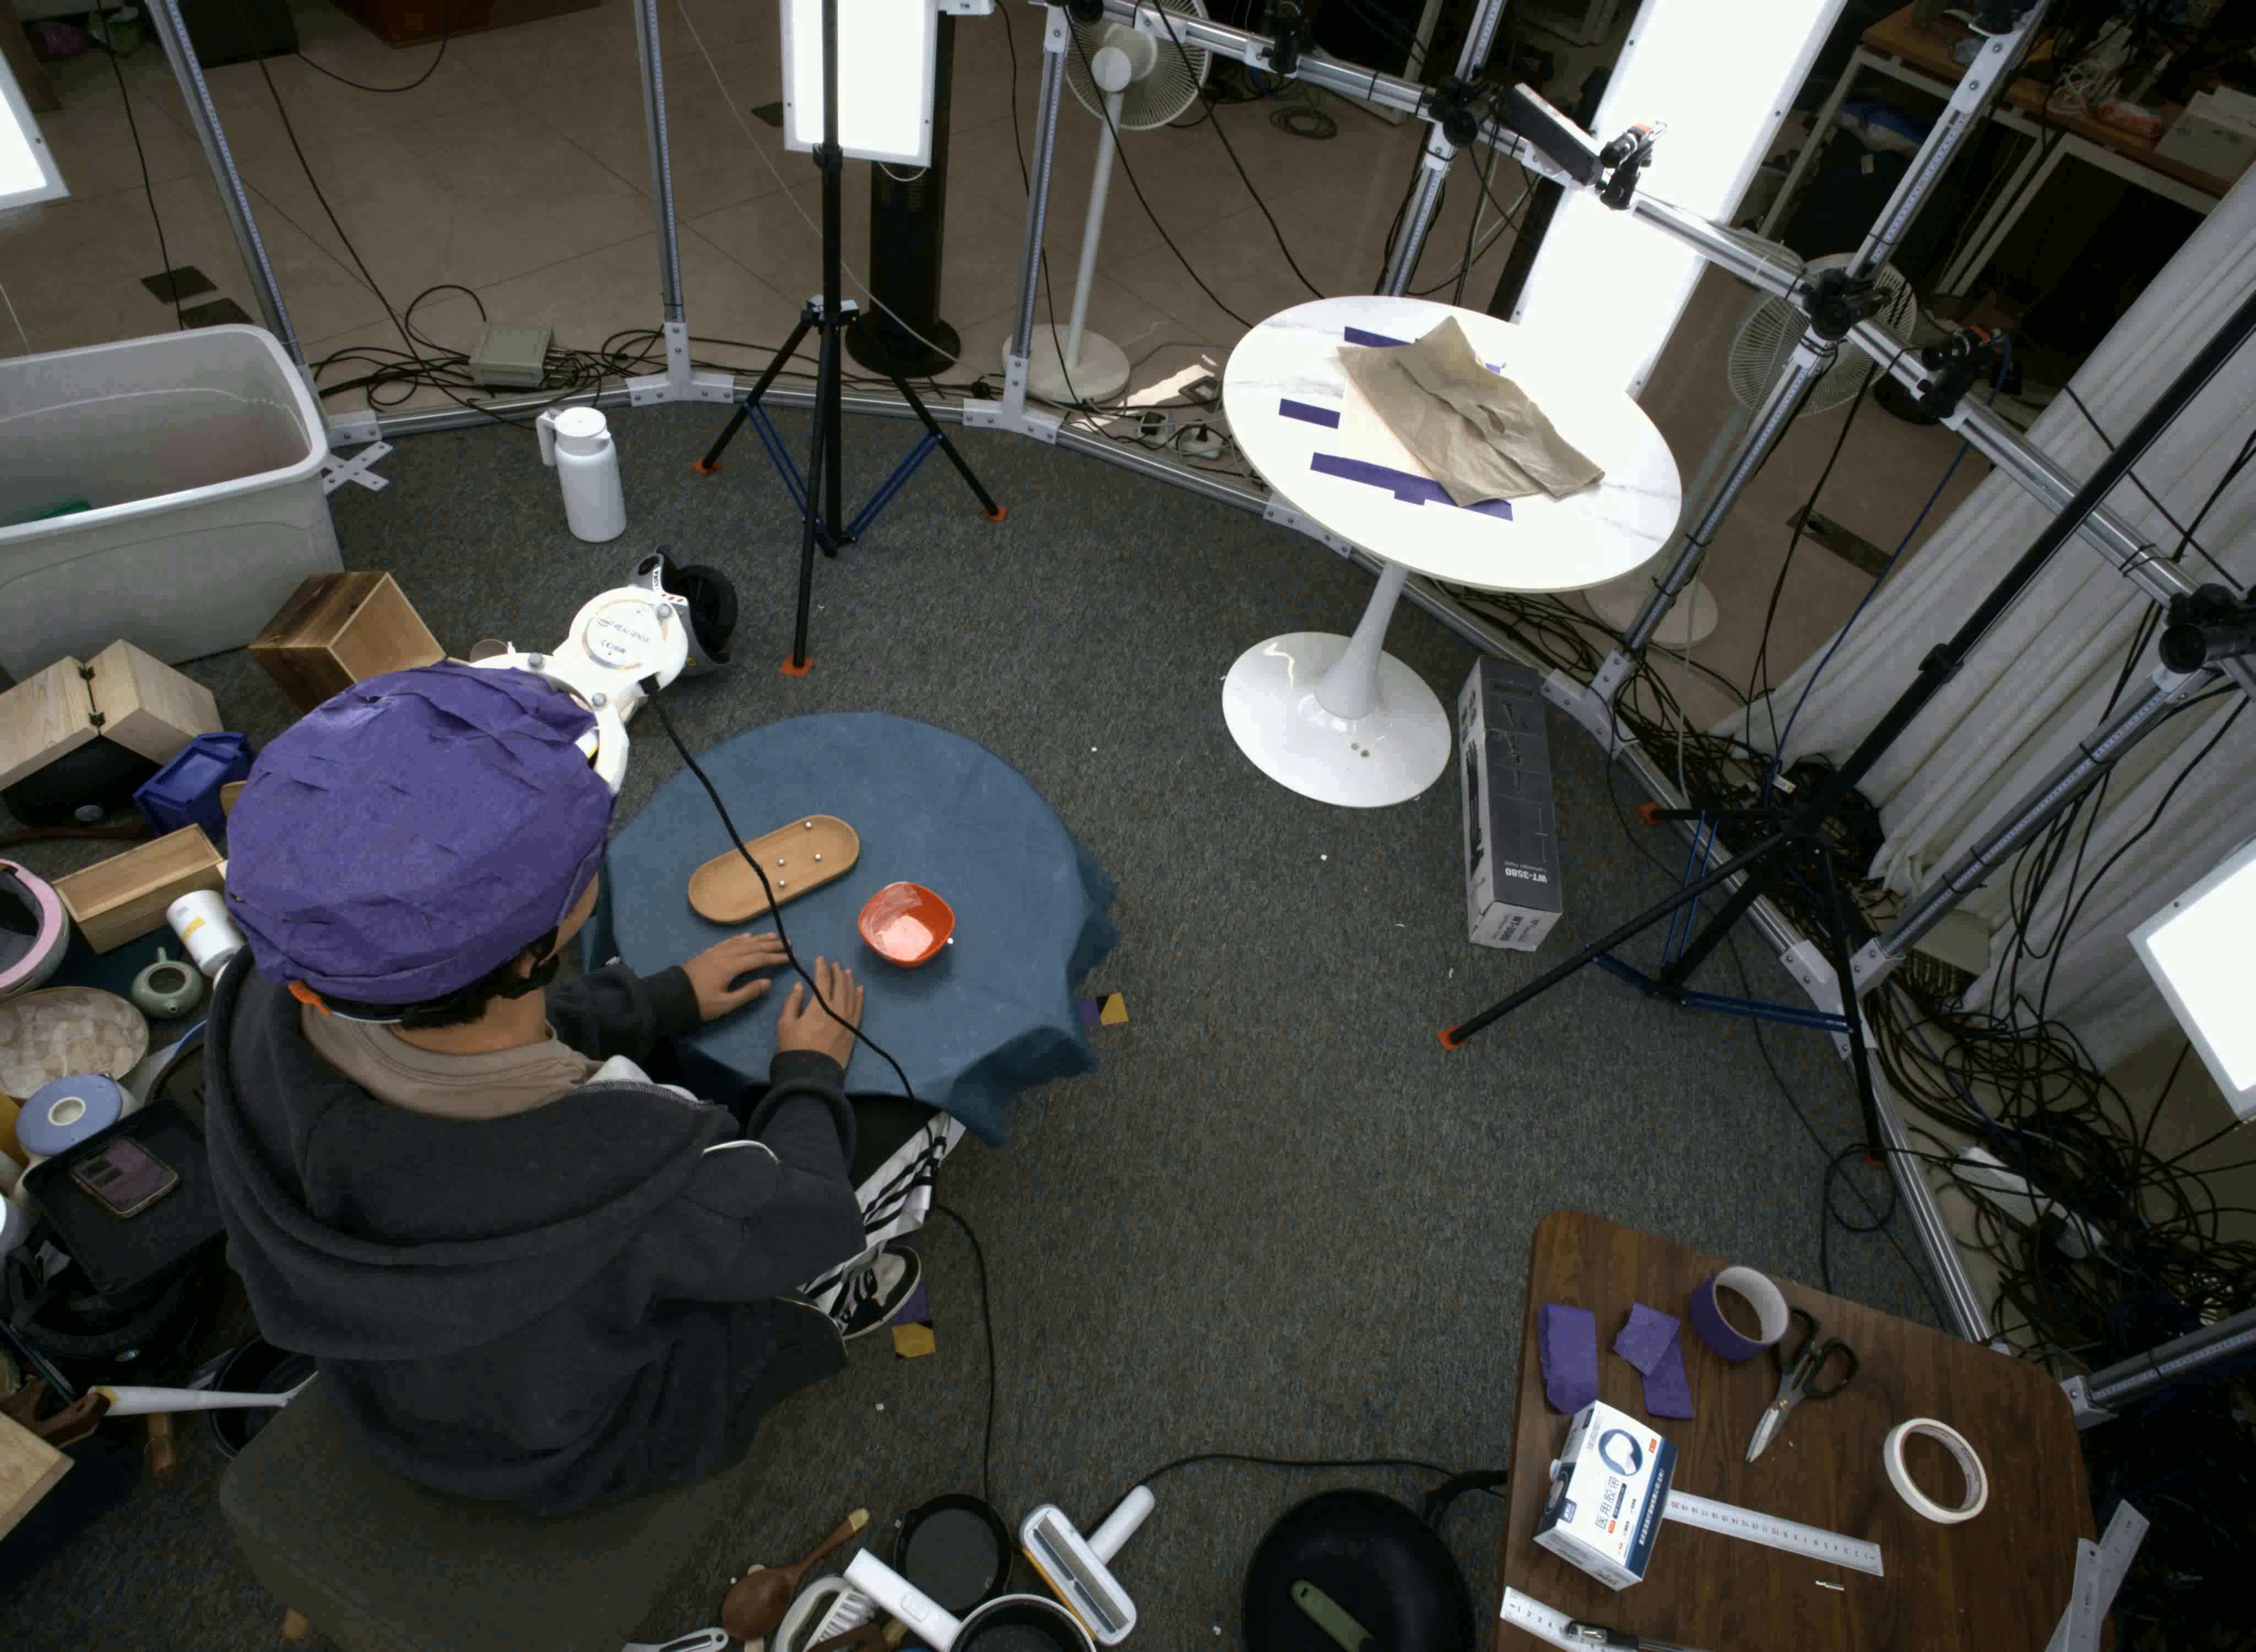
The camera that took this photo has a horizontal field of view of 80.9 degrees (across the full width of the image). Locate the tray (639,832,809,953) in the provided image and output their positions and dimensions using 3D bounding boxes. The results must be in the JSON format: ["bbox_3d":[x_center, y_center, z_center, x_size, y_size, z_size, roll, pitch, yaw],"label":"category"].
[{"bbox_3d":[-0.510,0.081,1.636,0.232,0.021,0.099,-34,67,-31],"label":"tray"}]

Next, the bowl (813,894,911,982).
[{"bbox_3d":[-0.330,0.145,1.609,0.119,0.052,0.117,9,51,-9],"label":"bowl"}]
